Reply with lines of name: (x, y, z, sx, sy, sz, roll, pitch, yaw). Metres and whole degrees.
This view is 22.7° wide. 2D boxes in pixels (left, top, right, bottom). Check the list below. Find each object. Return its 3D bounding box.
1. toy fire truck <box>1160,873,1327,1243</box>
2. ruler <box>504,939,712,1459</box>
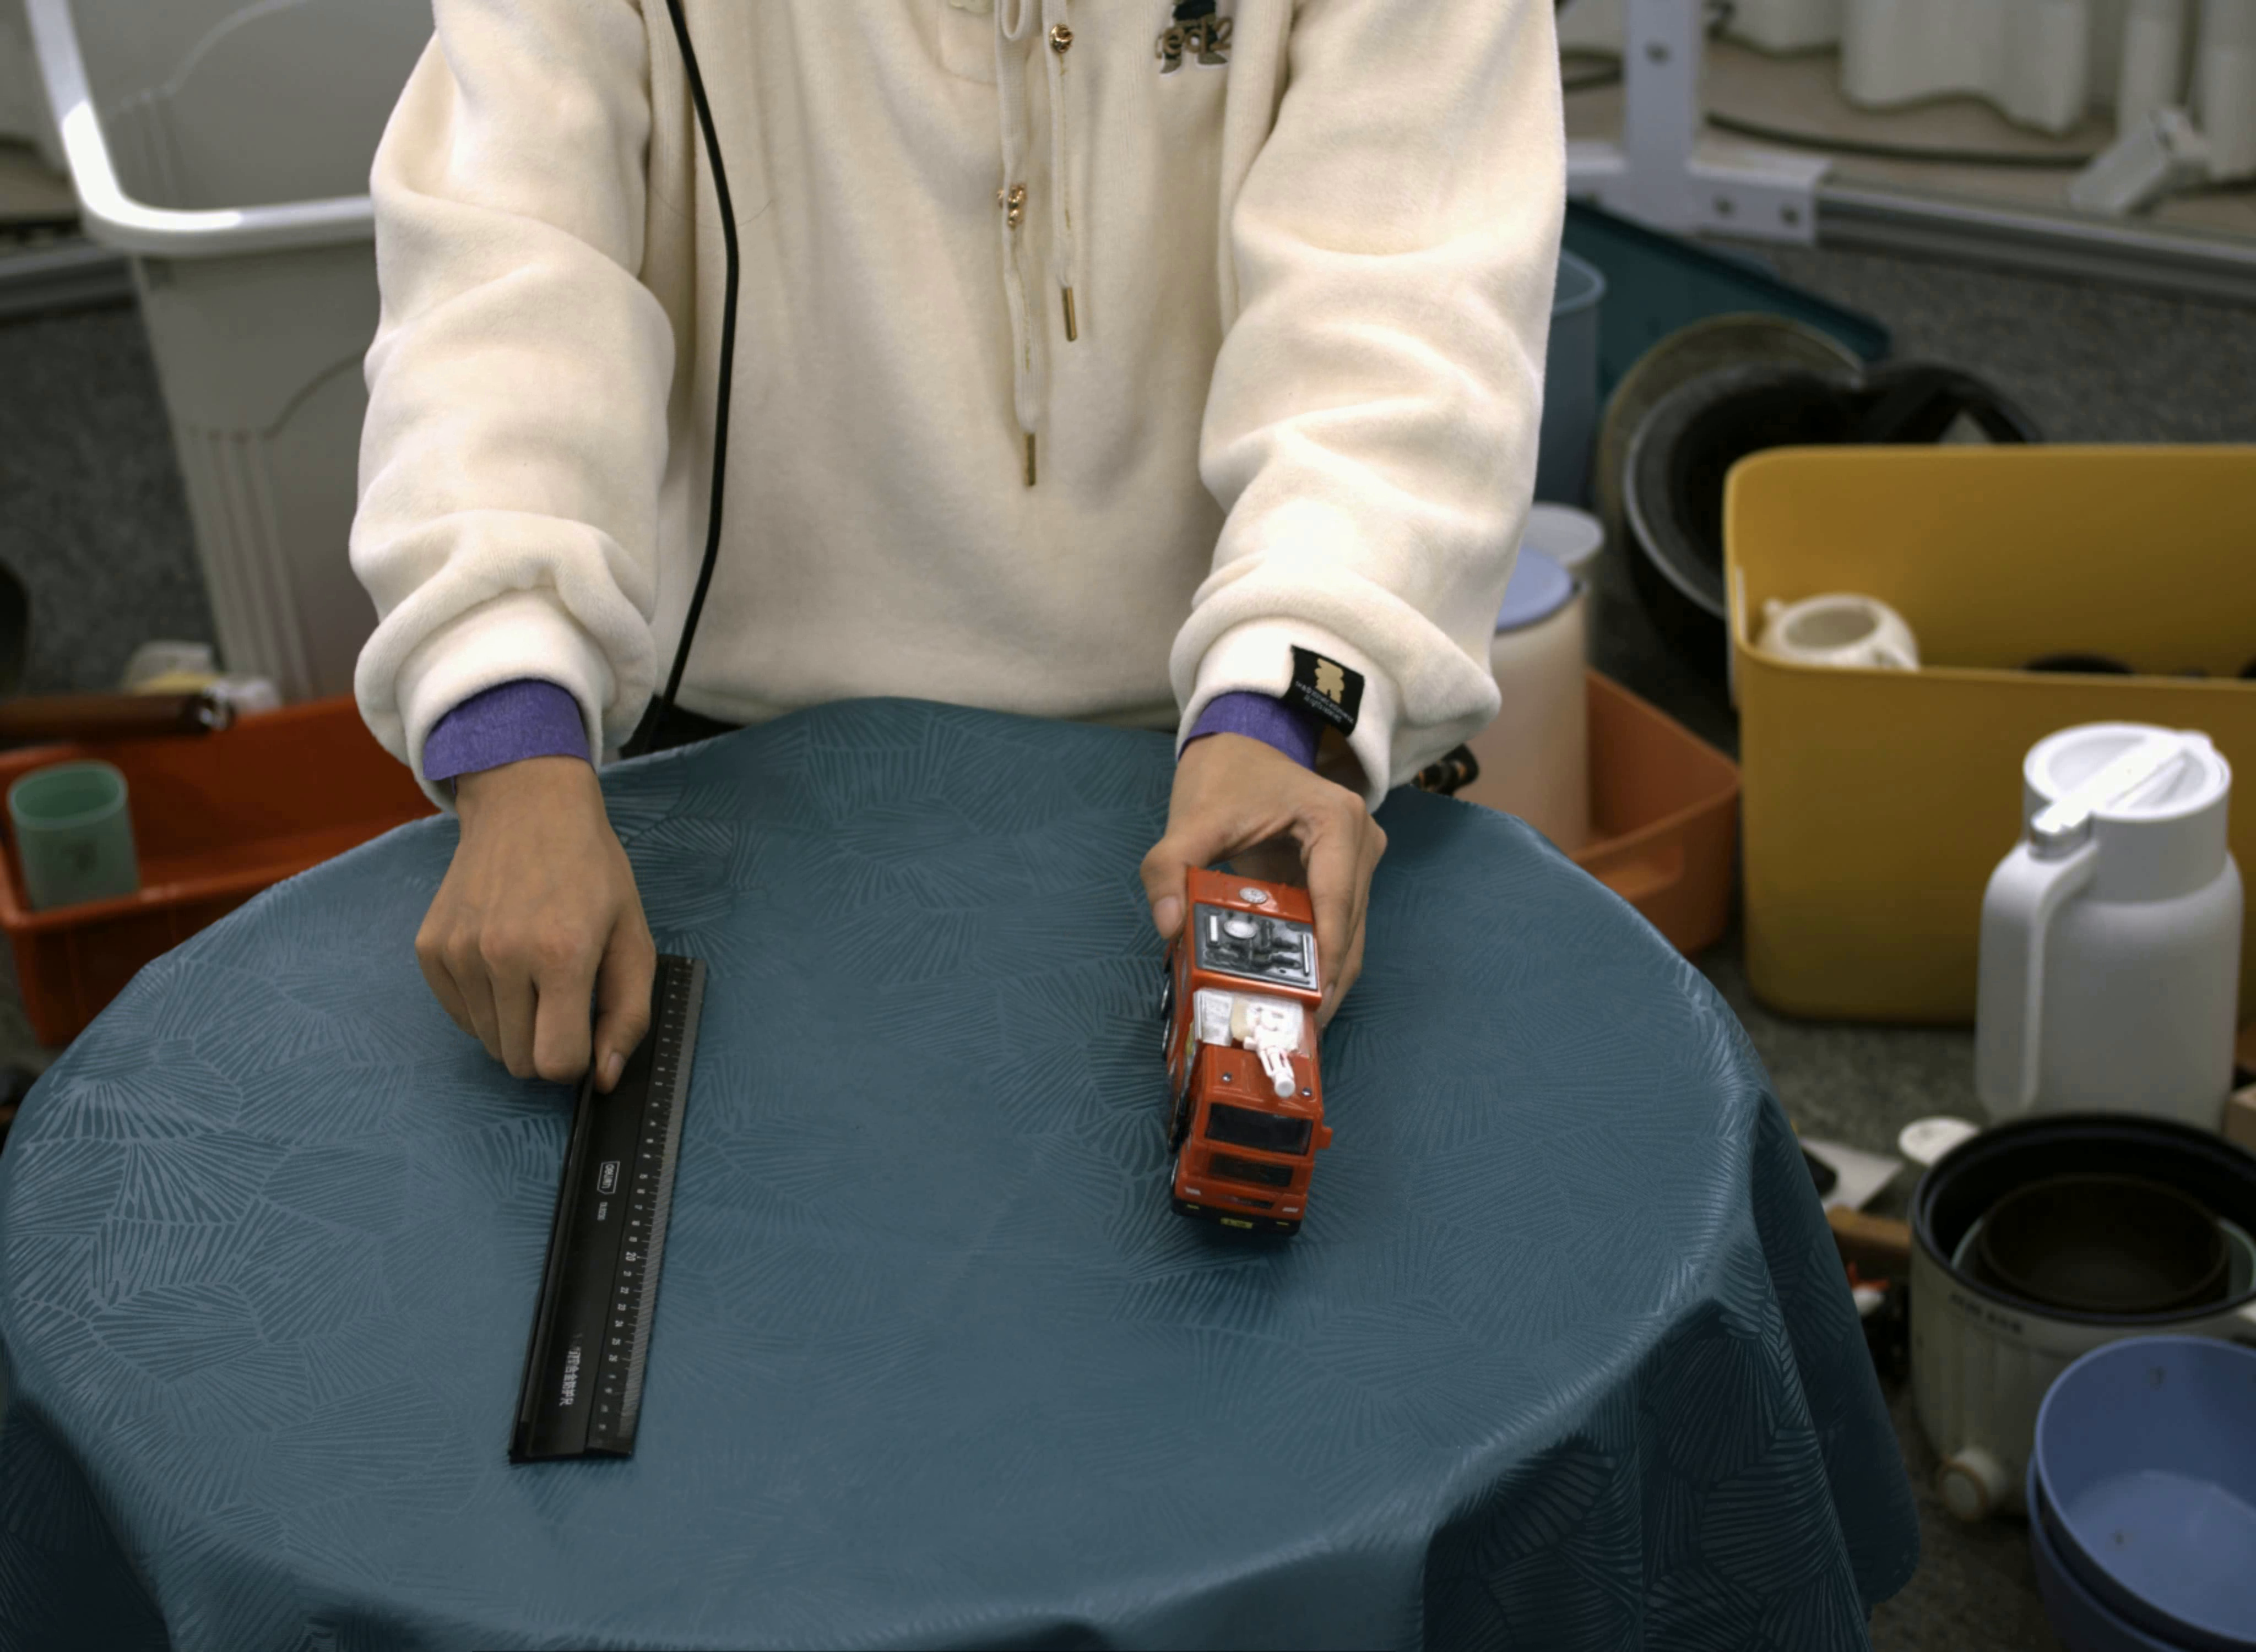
toy fire truck: (0.039, 0.075, 1.876, 0.054, 0.069, 0.170, 10, 25, -6)
ruler: (-0.171, 0.117, 1.868, 0.039, 0.017, 0.317, 0, 27, 2)
